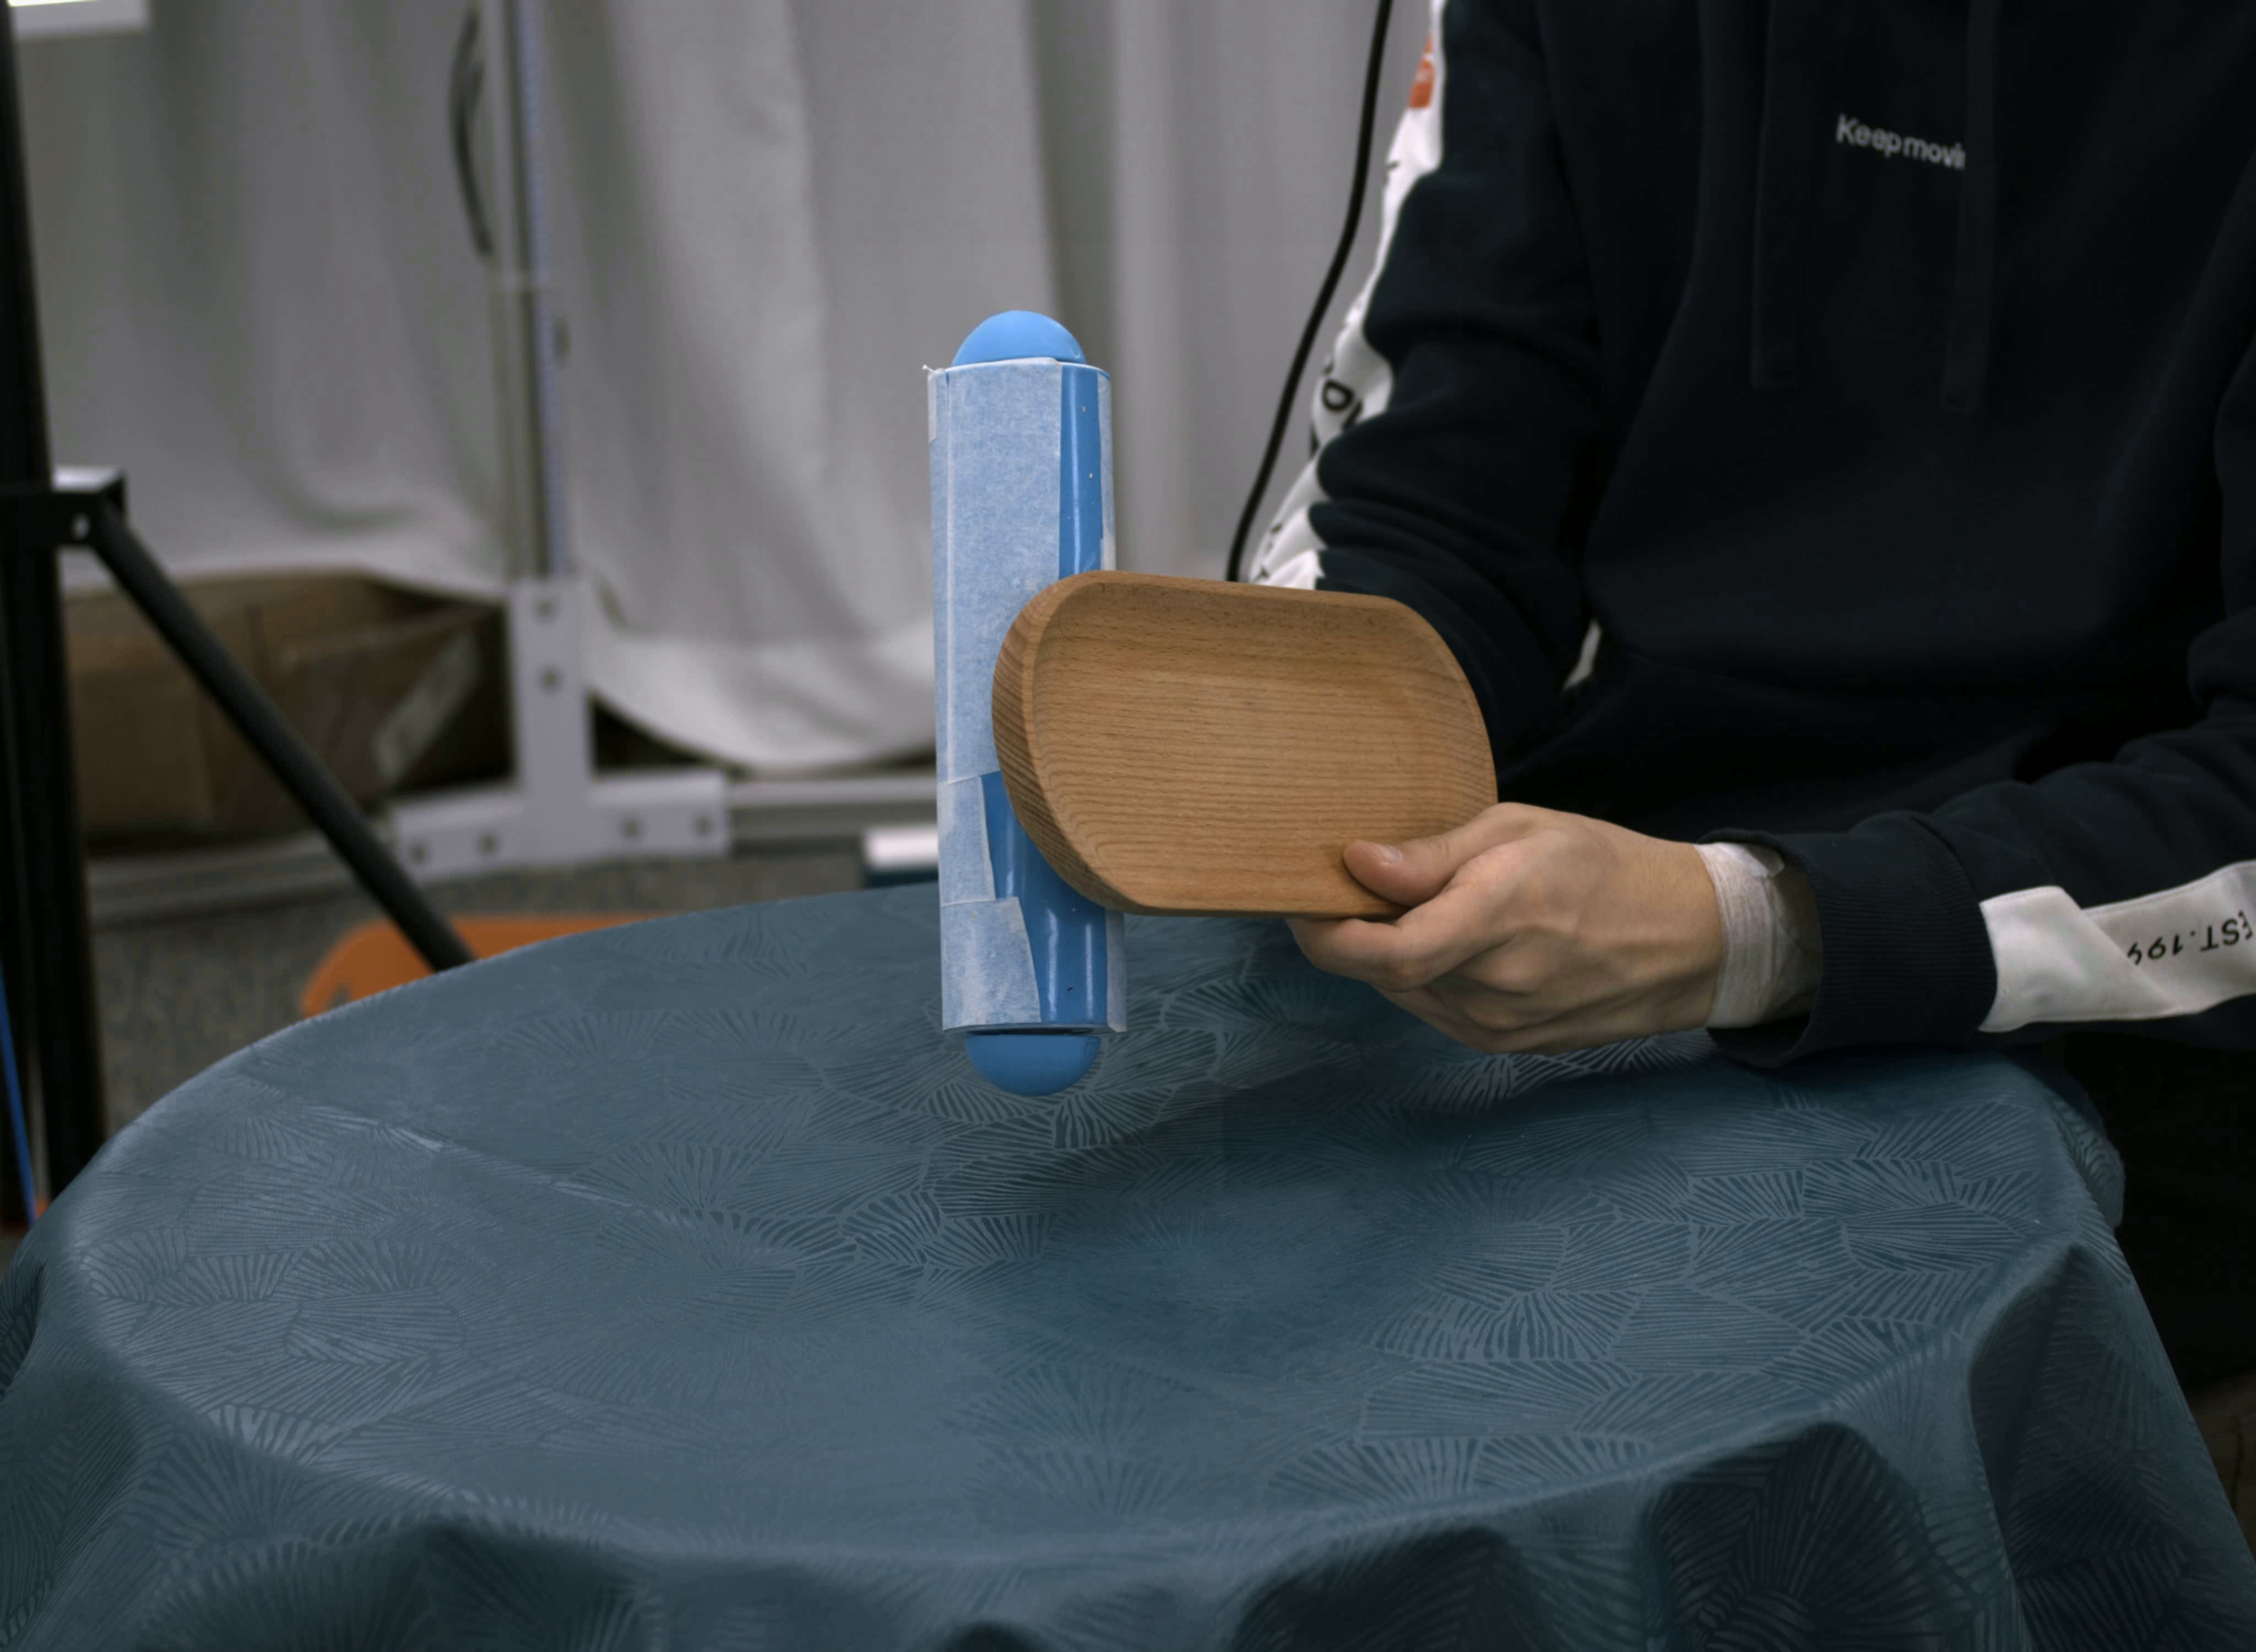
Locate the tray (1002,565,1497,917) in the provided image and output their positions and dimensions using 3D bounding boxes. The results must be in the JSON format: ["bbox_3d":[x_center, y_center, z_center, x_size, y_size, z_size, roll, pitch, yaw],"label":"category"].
[{"bbox_3d":[0.039,-0.023,1.561,0.020,0.102,0.225,-15,-10,36],"label":"tray"}]

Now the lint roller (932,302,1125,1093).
[{"bbox_3d":[-0.002,-0.030,1.594,0.069,0.230,0.176,-6,-10,28],"label":"lint roller"}]
